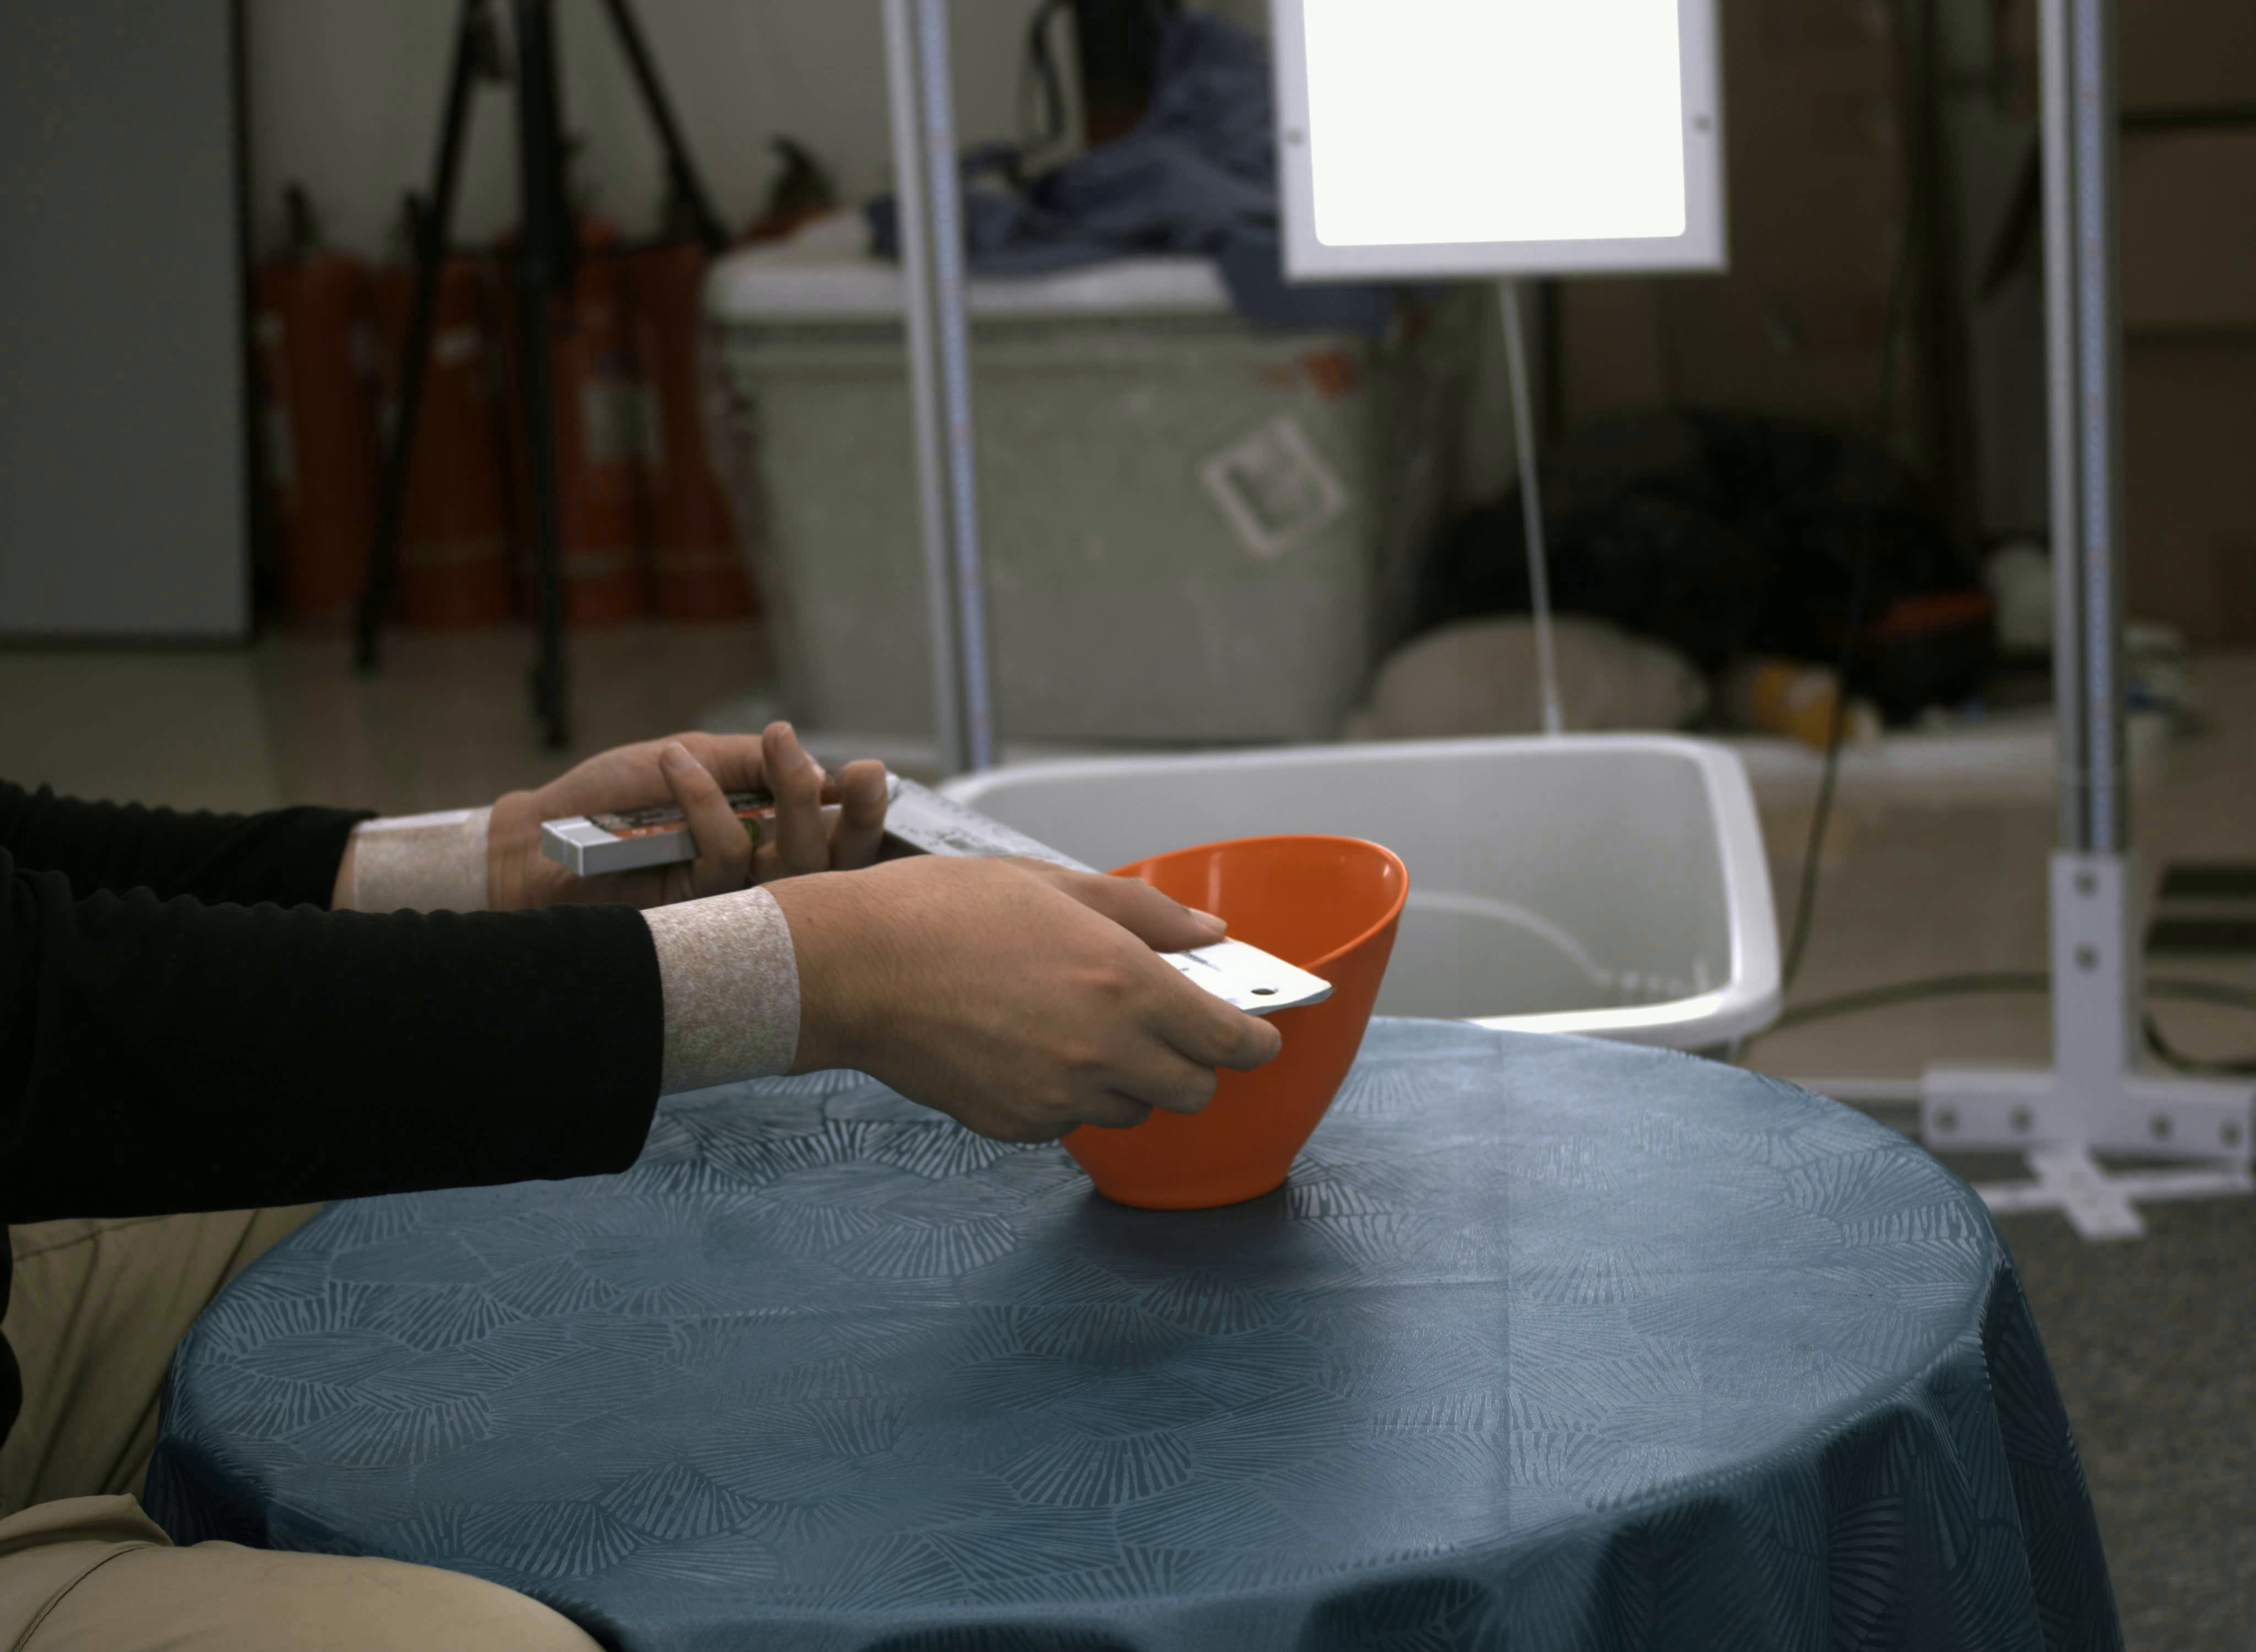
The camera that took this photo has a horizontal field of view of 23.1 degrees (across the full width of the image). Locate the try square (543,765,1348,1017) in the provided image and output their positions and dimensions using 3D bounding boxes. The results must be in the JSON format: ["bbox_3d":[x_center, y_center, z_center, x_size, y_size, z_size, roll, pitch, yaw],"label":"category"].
[{"bbox_3d":[-0.070,0.031,1.897,0.149,0.016,0.318,-13,19,-26],"label":"try square"}]

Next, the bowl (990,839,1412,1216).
[{"bbox_3d":[0.029,0.073,1.897,0.147,0.105,0.148,-5,15,0],"label":"bowl"}]
